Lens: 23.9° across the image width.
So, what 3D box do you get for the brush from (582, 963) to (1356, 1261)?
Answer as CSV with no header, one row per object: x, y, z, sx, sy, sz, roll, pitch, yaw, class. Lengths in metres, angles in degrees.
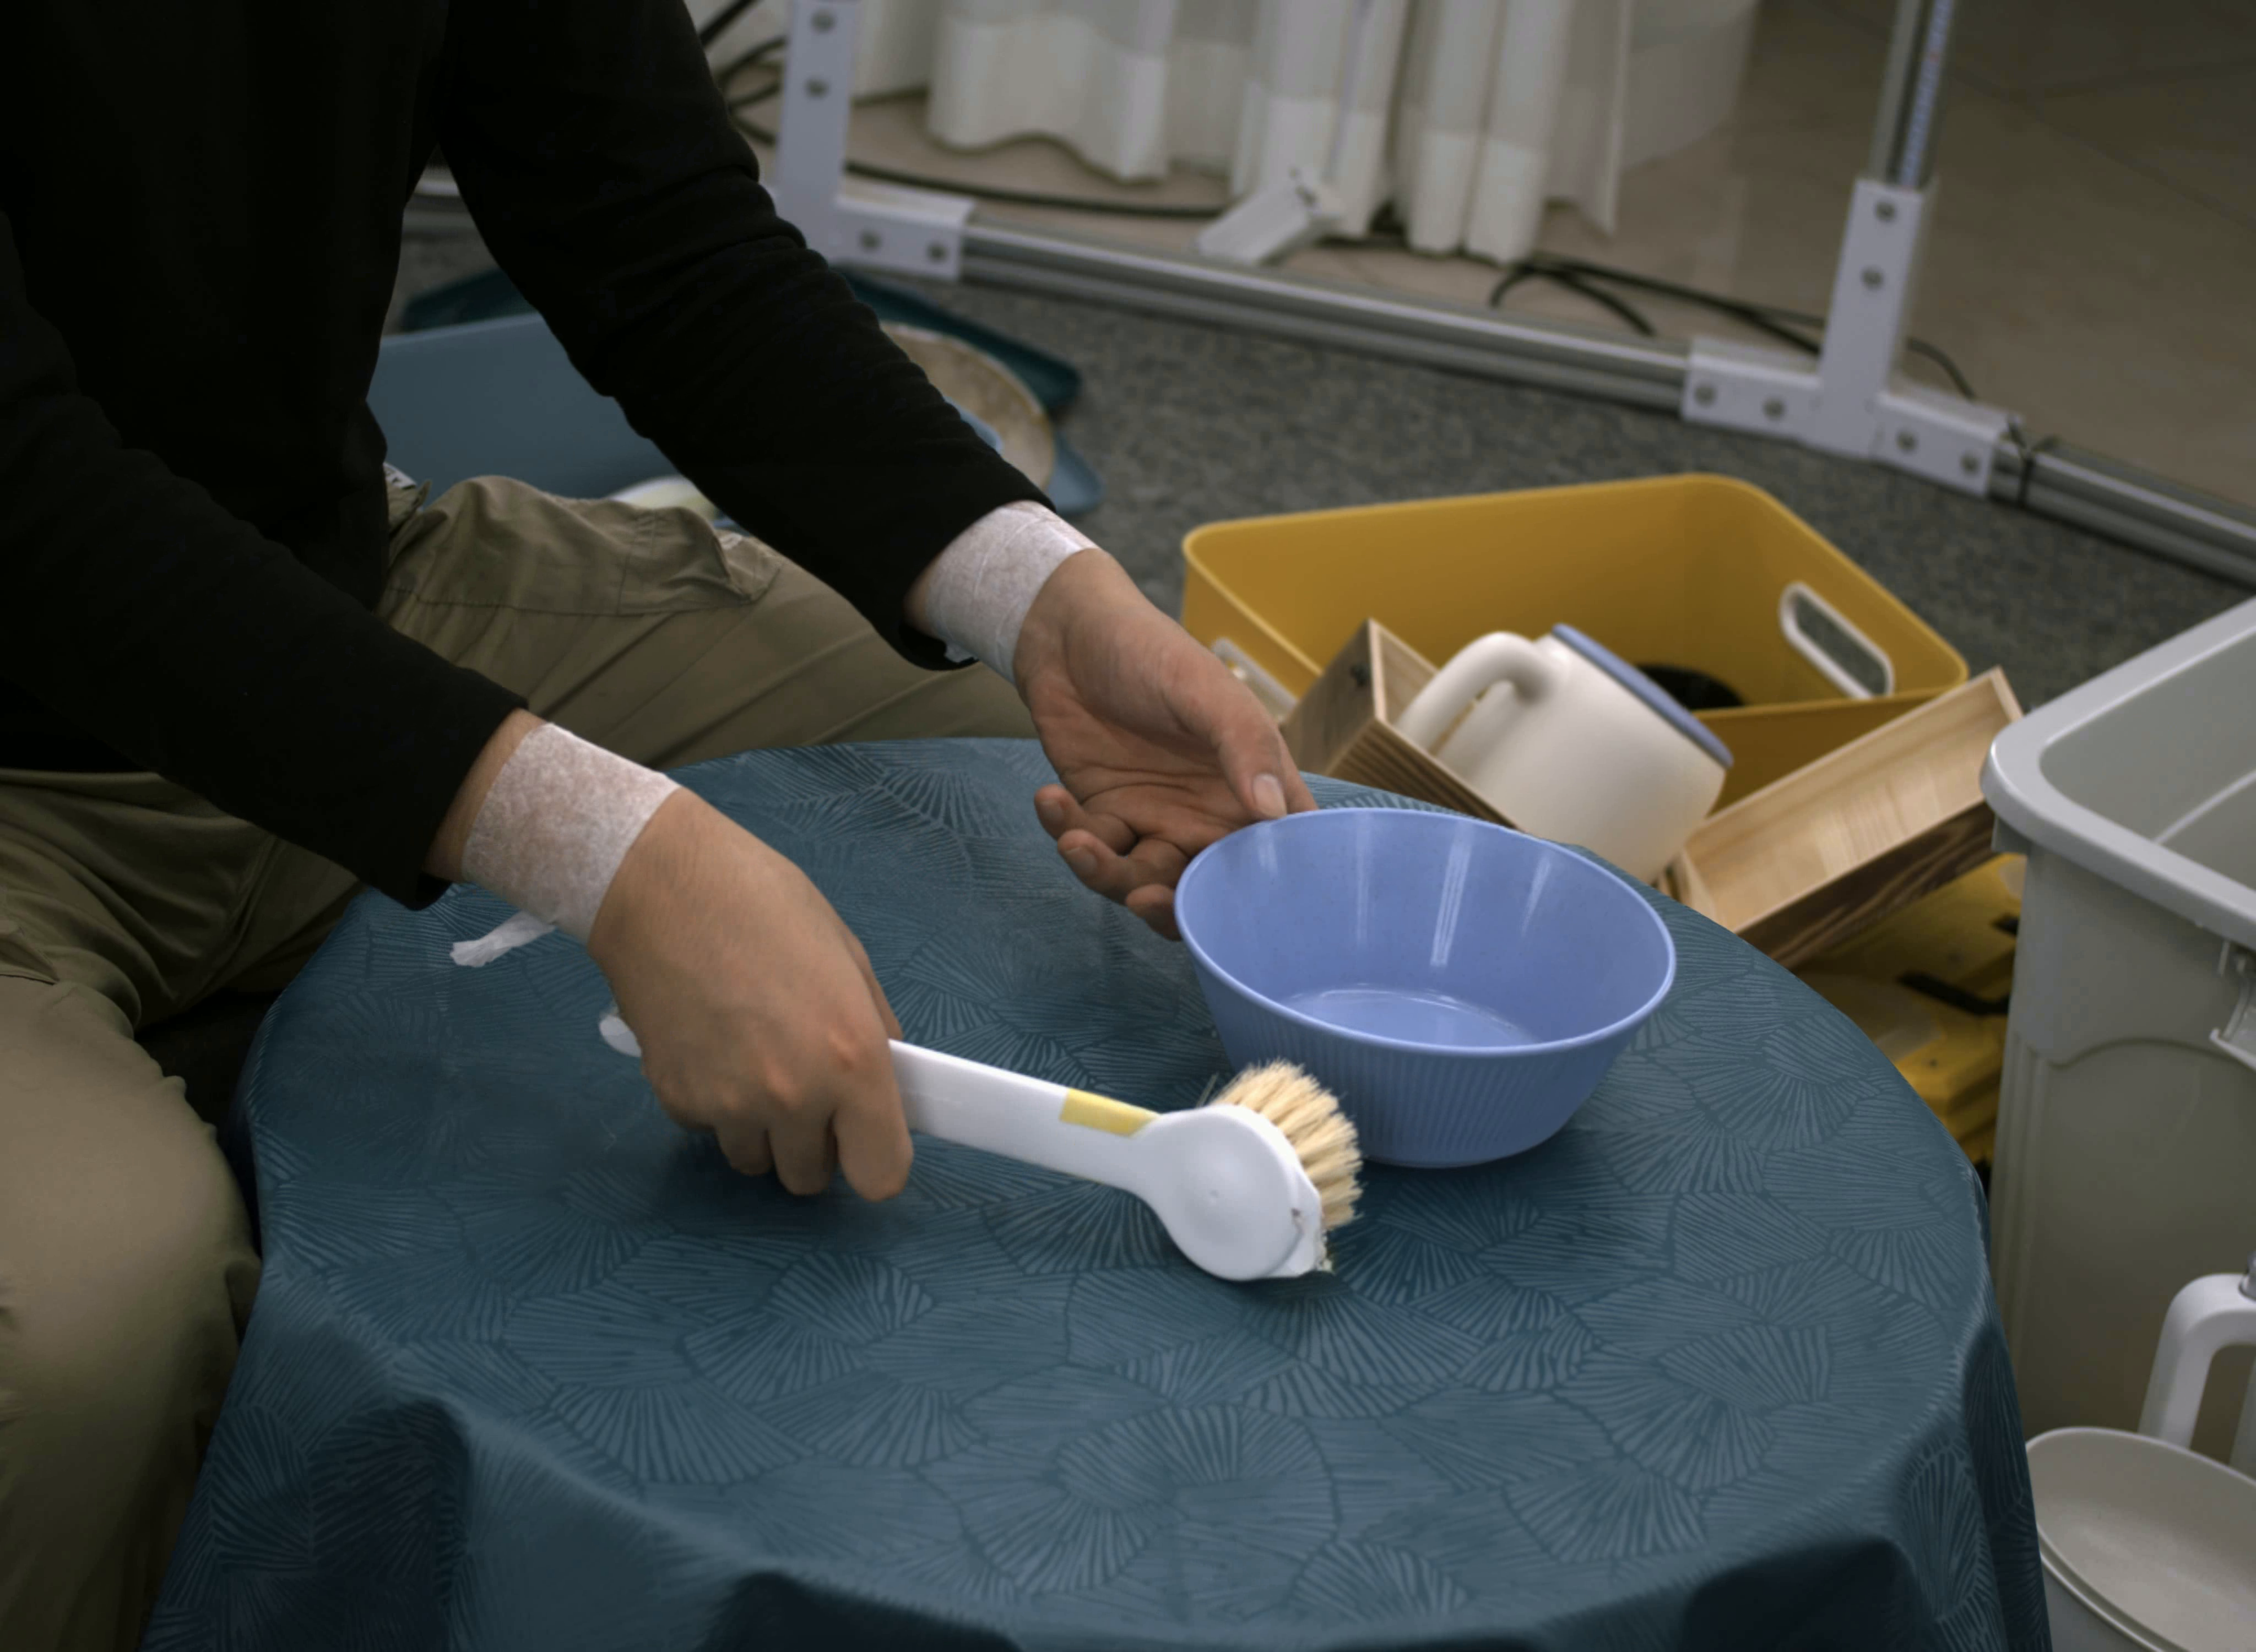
-0.051,0.086,1.780,0.267,0.068,0.056,16,16,13,brush

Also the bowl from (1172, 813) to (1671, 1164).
0.099,0.063,1.864,0.175,0.070,0.177,5,26,-3,bowl
